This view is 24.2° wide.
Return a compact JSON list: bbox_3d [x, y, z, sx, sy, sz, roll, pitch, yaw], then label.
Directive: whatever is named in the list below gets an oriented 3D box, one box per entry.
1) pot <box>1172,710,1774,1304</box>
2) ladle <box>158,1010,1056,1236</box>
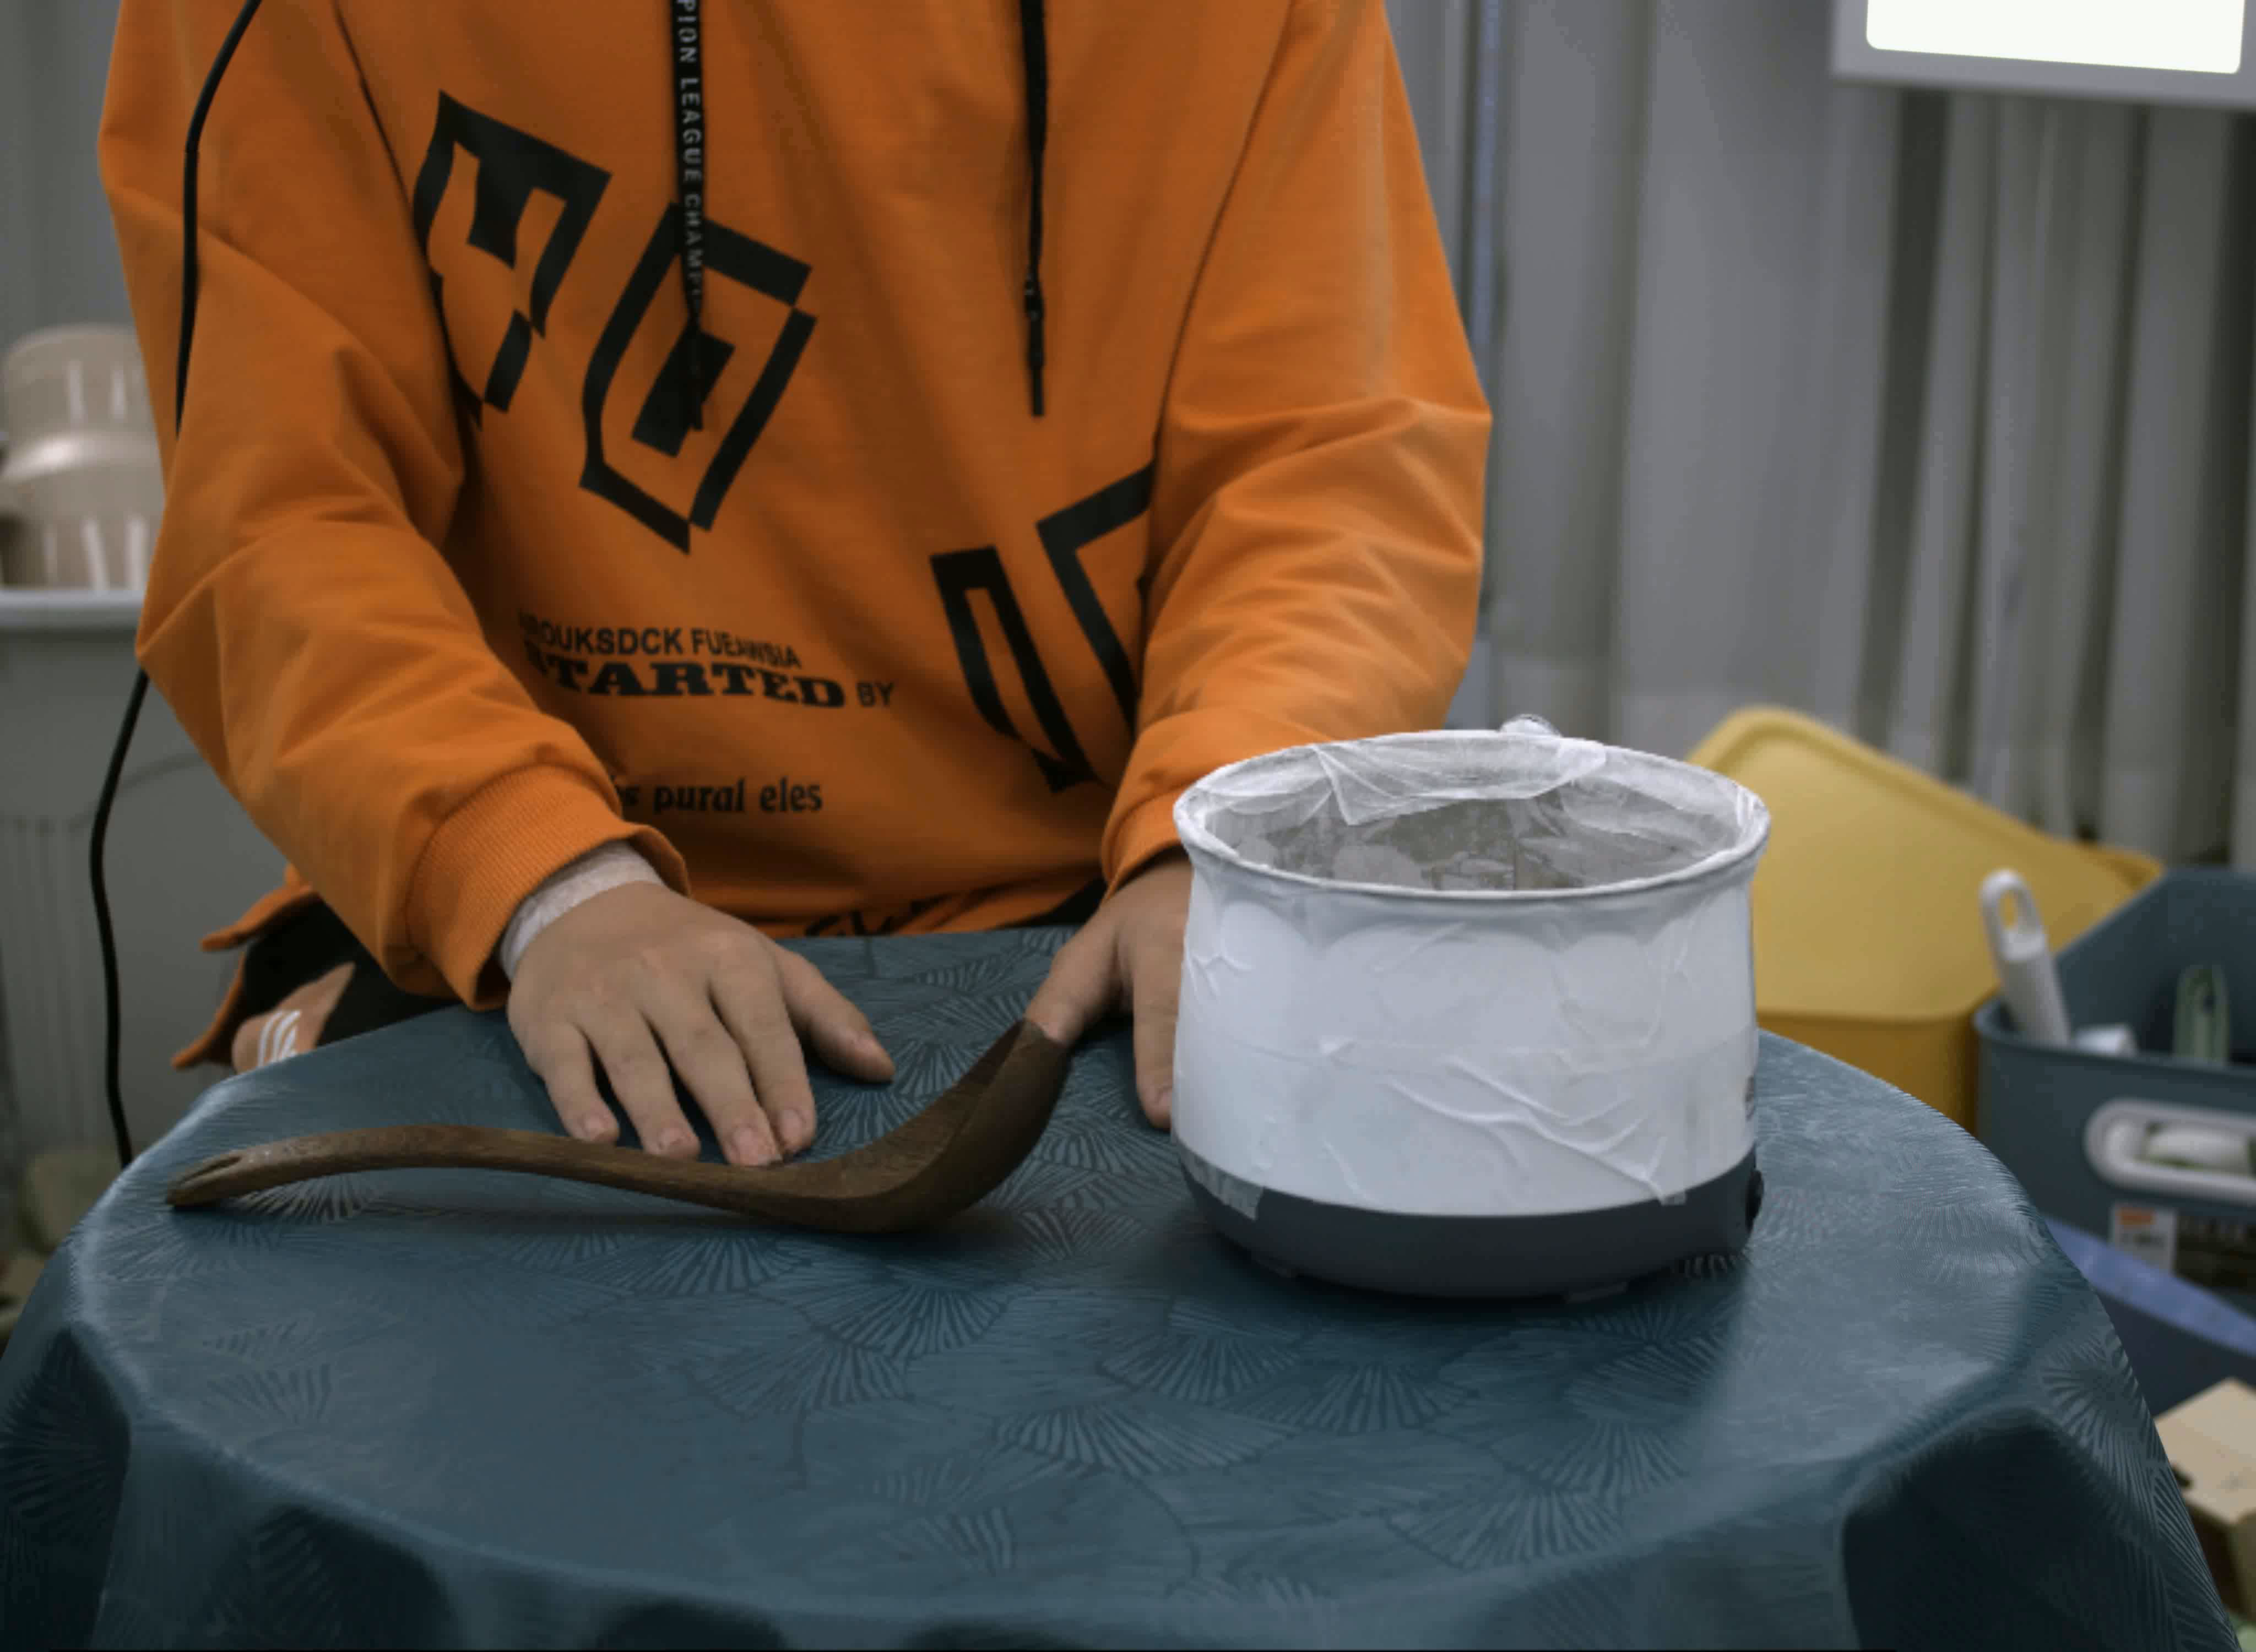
[{"bbox_3d":[0.107,0.048,1.597,0.177,0.138,0.233,4,17,11],"label":"pot"},{"bbox_3d":[-0.158,0.085,1.586,0.273,0.072,0.076,2,13,5],"label":"ladle"}]
